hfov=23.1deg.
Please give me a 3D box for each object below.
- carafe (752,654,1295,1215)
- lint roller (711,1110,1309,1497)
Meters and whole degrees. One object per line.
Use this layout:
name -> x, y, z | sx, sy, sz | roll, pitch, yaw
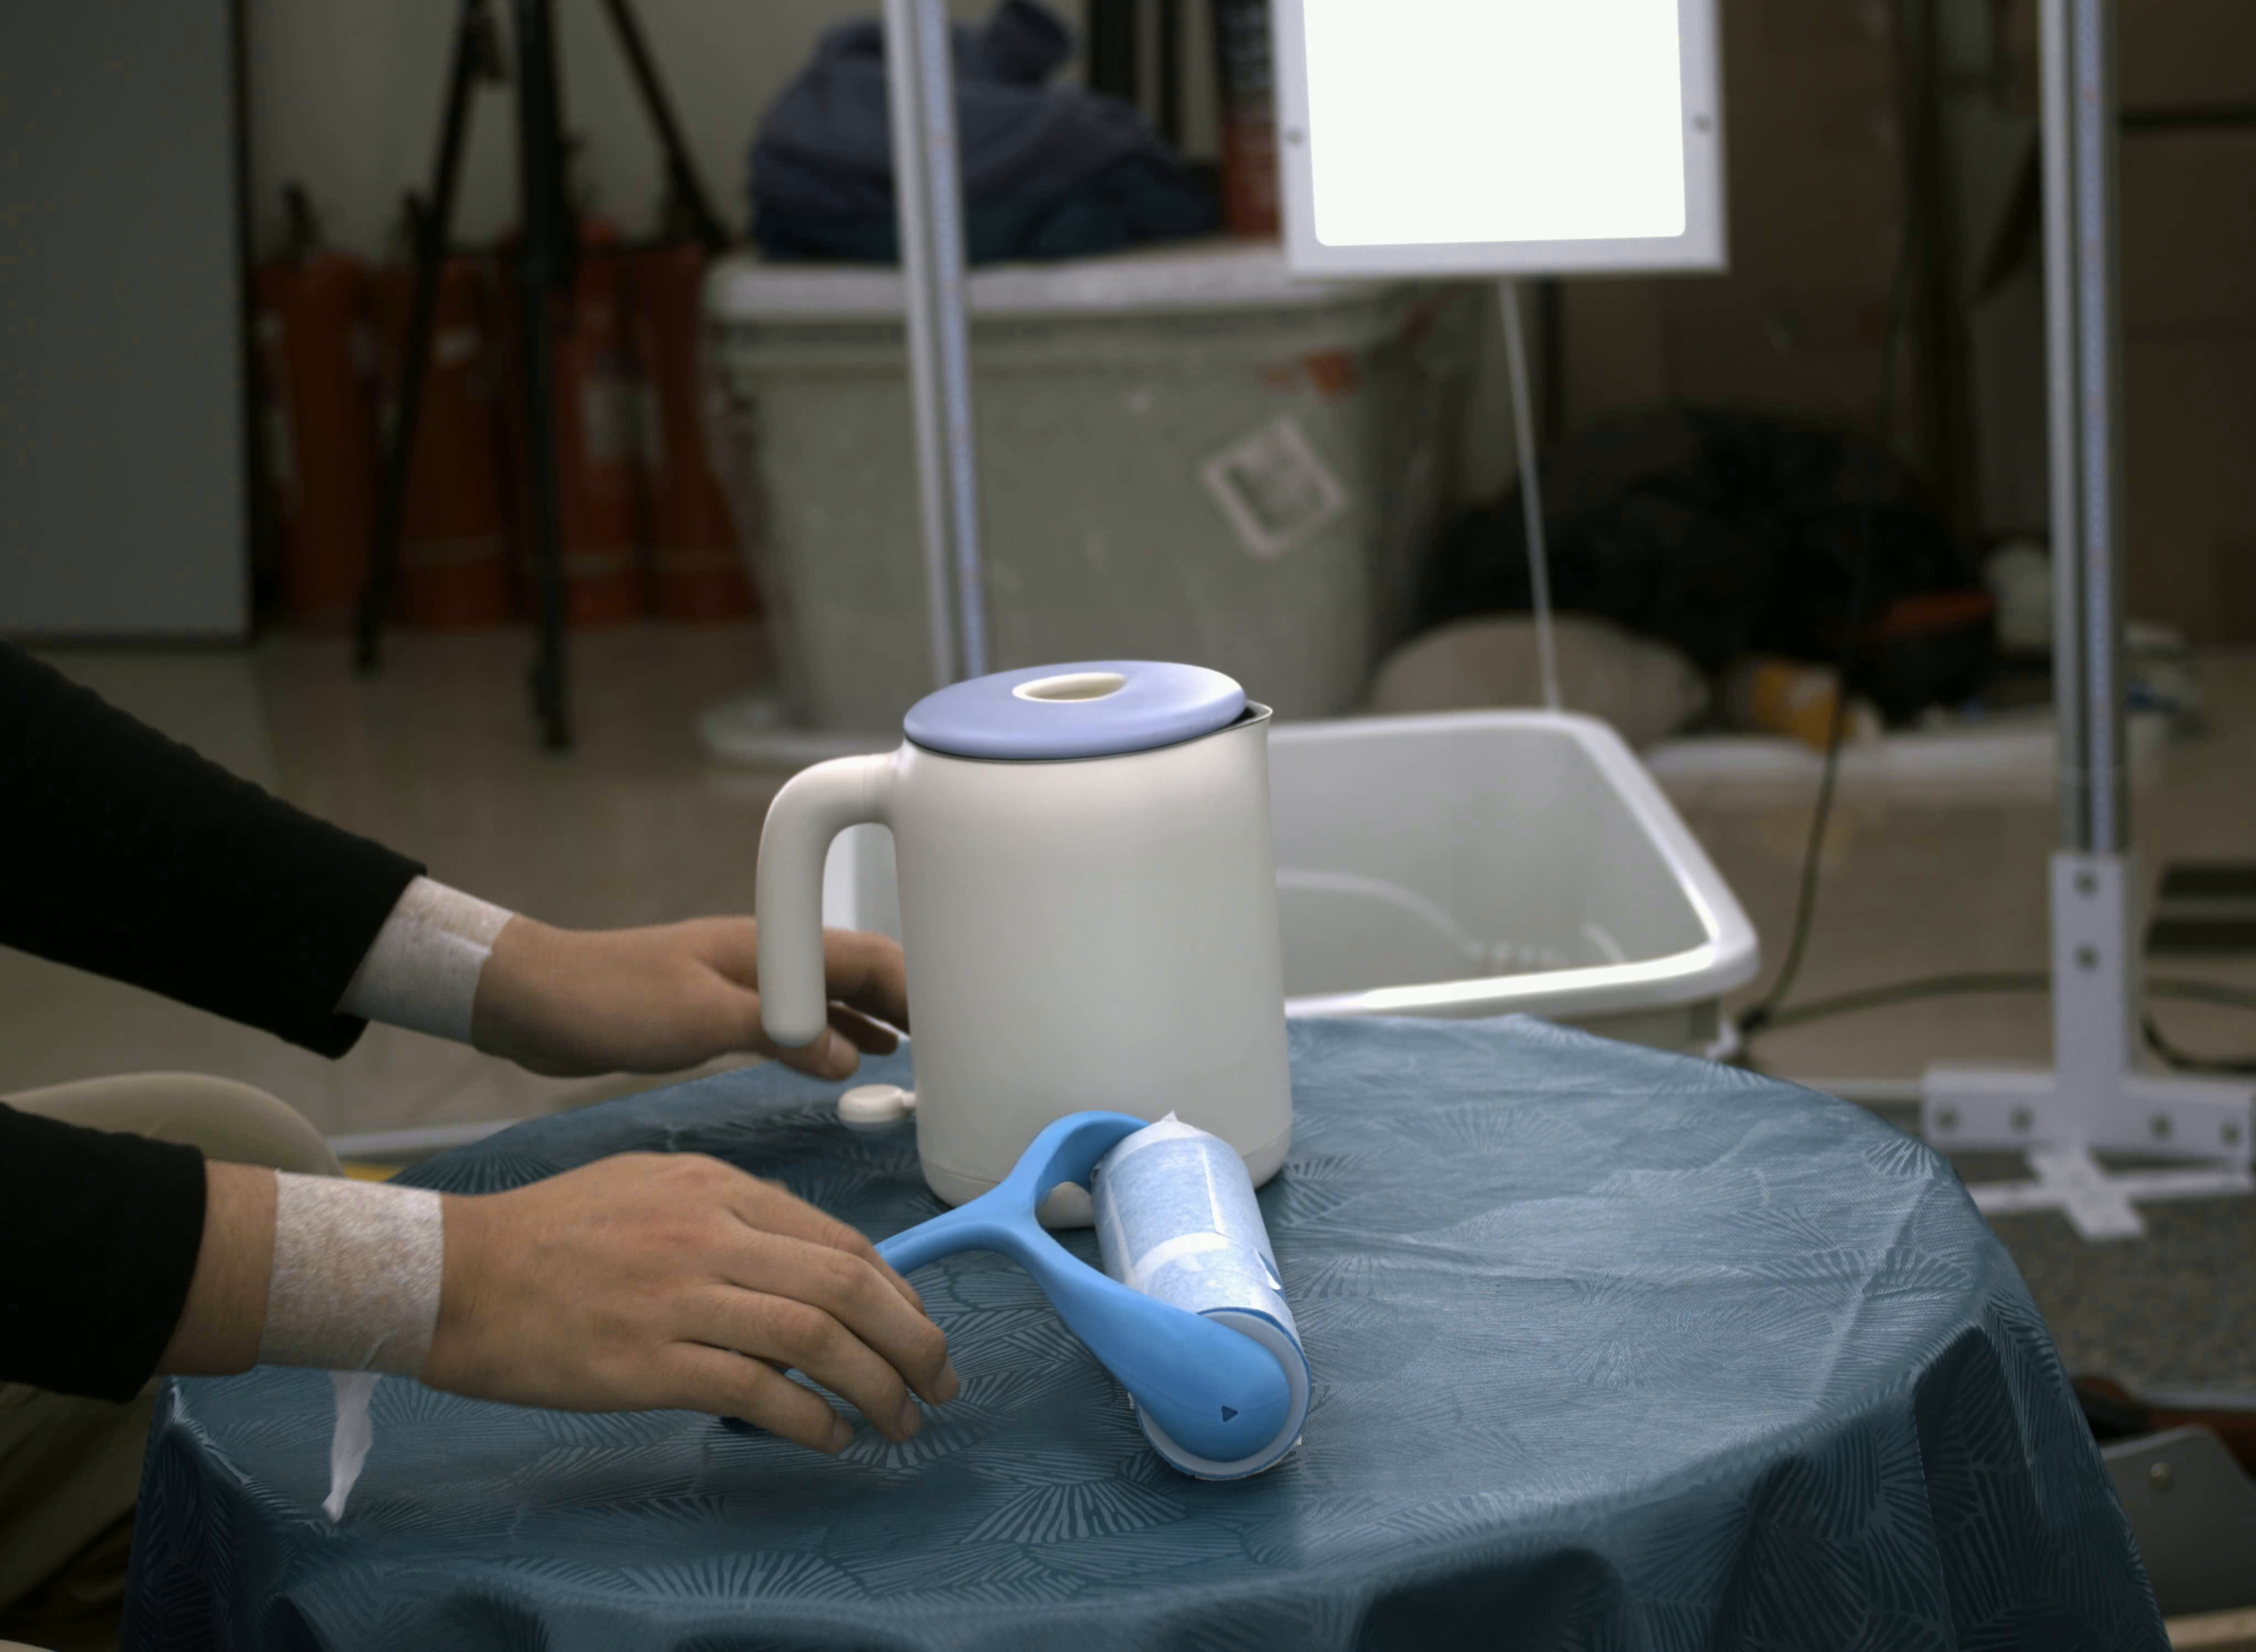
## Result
carafe -> -0.037, 0.040, 1.902 | 0.192, 0.183, 0.131 | -4, 13, 11
lint roller -> -0.039, 0.147, 1.705 | 0.179, 0.068, 0.229 | 0, 16, -5
